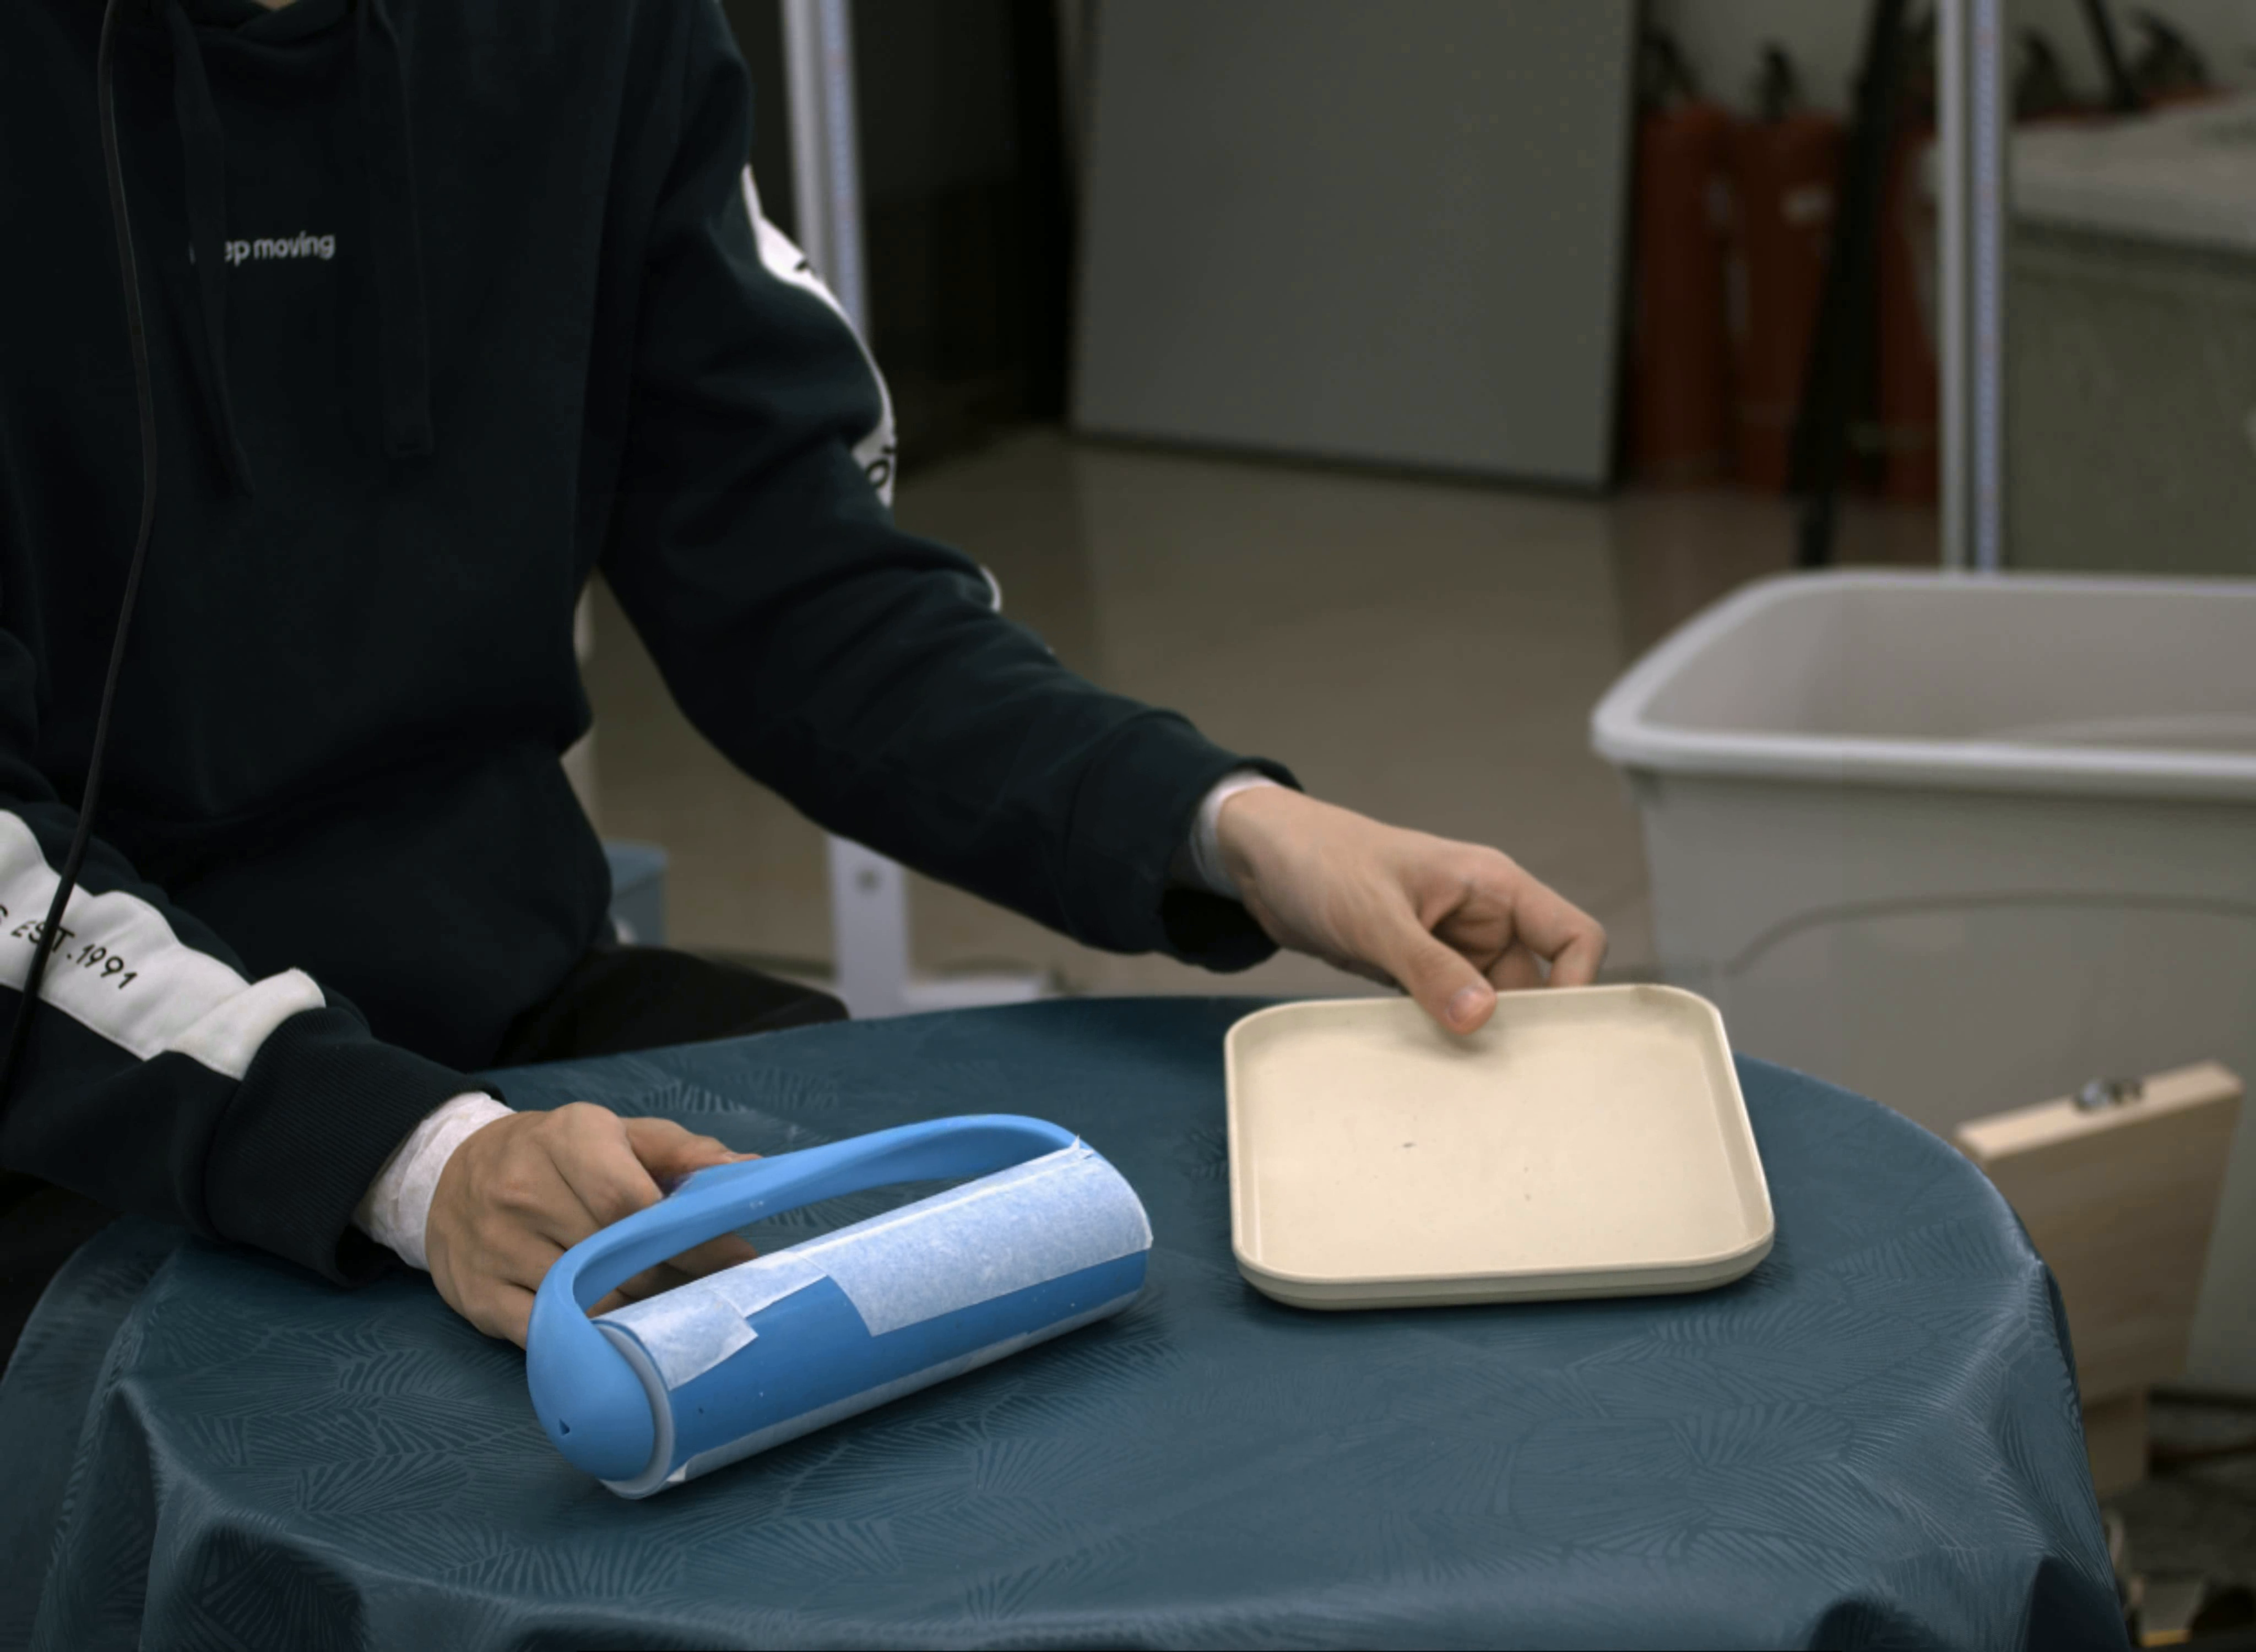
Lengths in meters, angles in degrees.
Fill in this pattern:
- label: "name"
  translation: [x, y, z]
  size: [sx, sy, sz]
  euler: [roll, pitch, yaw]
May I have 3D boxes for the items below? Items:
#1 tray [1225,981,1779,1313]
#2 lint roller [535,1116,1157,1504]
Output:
- label: "tray"
  translation: [0.117, 0.102, 1.740]
  size: [0.169, 0.017, 0.240]
  euler: [-5, 18, 3]
- label: "lint roller"
  translation: [-0.120, 0.136, 1.627]
  size: [0.182, 0.068, 0.224]
  euler: [10, 21, 42]
